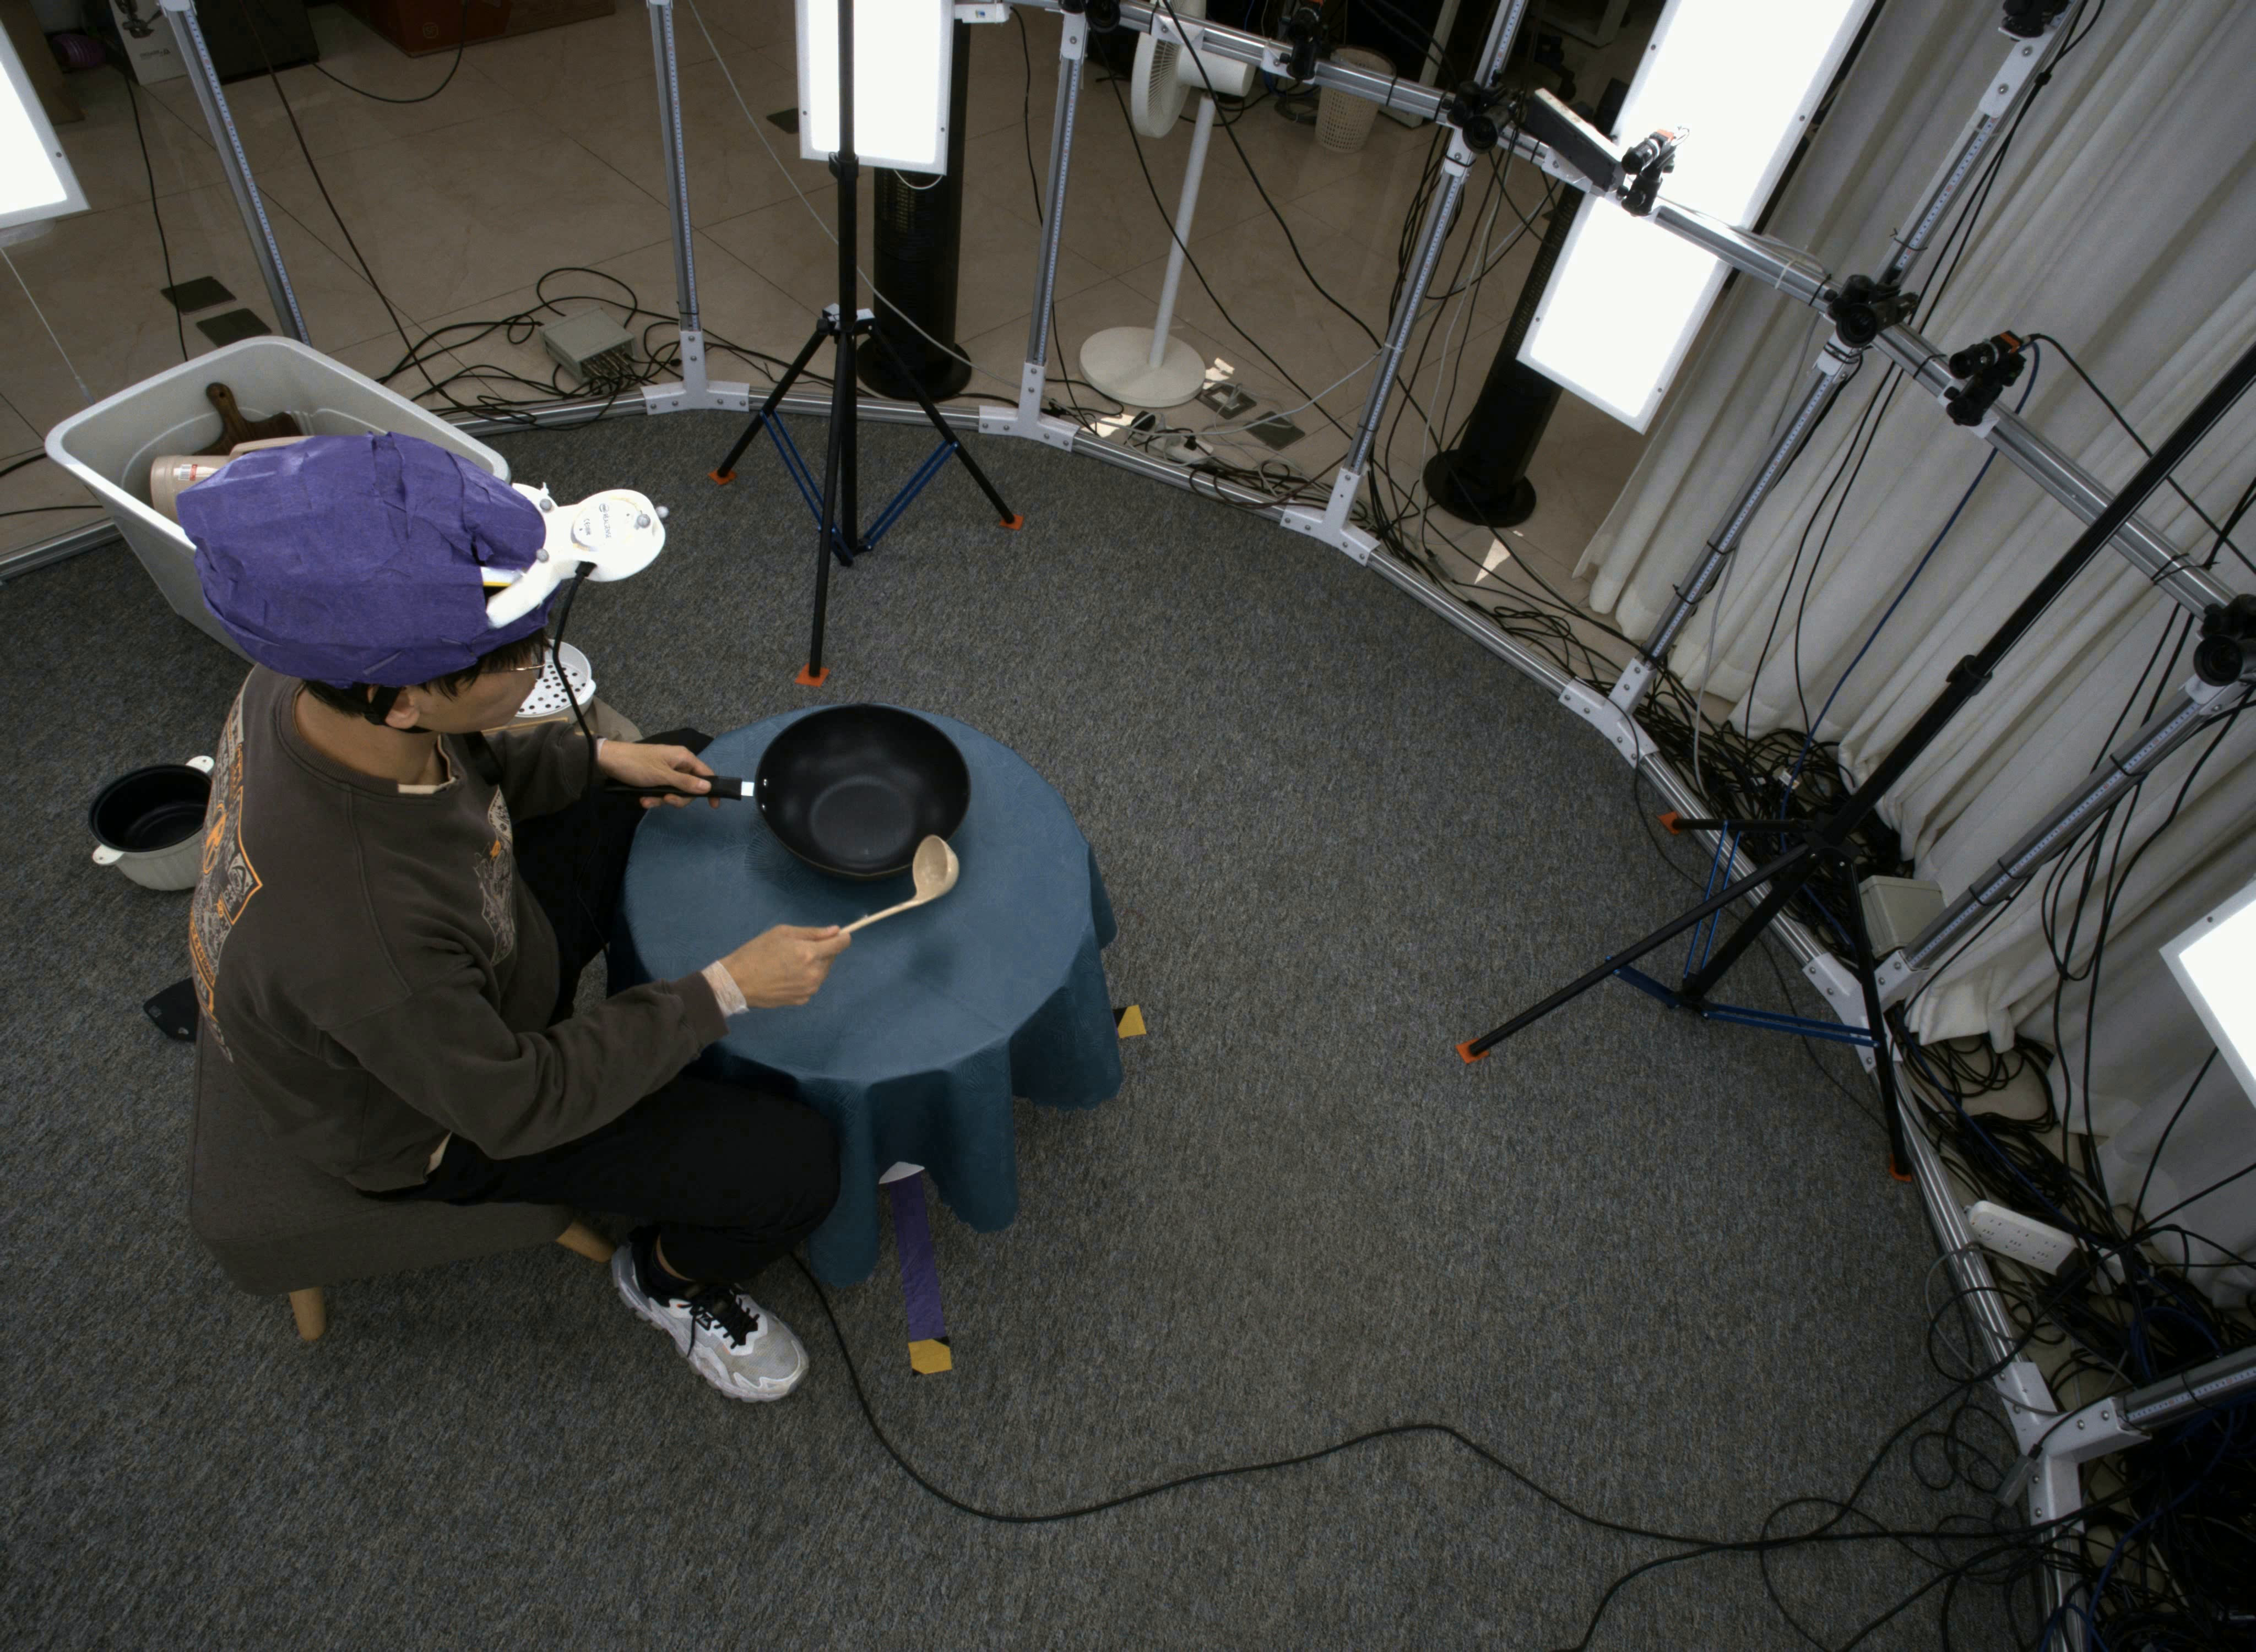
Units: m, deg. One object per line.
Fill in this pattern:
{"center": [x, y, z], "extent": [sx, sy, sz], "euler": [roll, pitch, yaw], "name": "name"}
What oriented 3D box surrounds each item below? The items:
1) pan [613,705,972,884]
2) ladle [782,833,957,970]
{"center": [-0.437, -0.028, 1.703], "extent": [0.463, 0.089, 0.282], "euler": [0, 55, -13], "name": "pan"}
{"center": [-0.309, 0.081, 1.529], "extent": [0.069, 0.075, 0.256], "euler": [10, 27, 42], "name": "ladle"}
